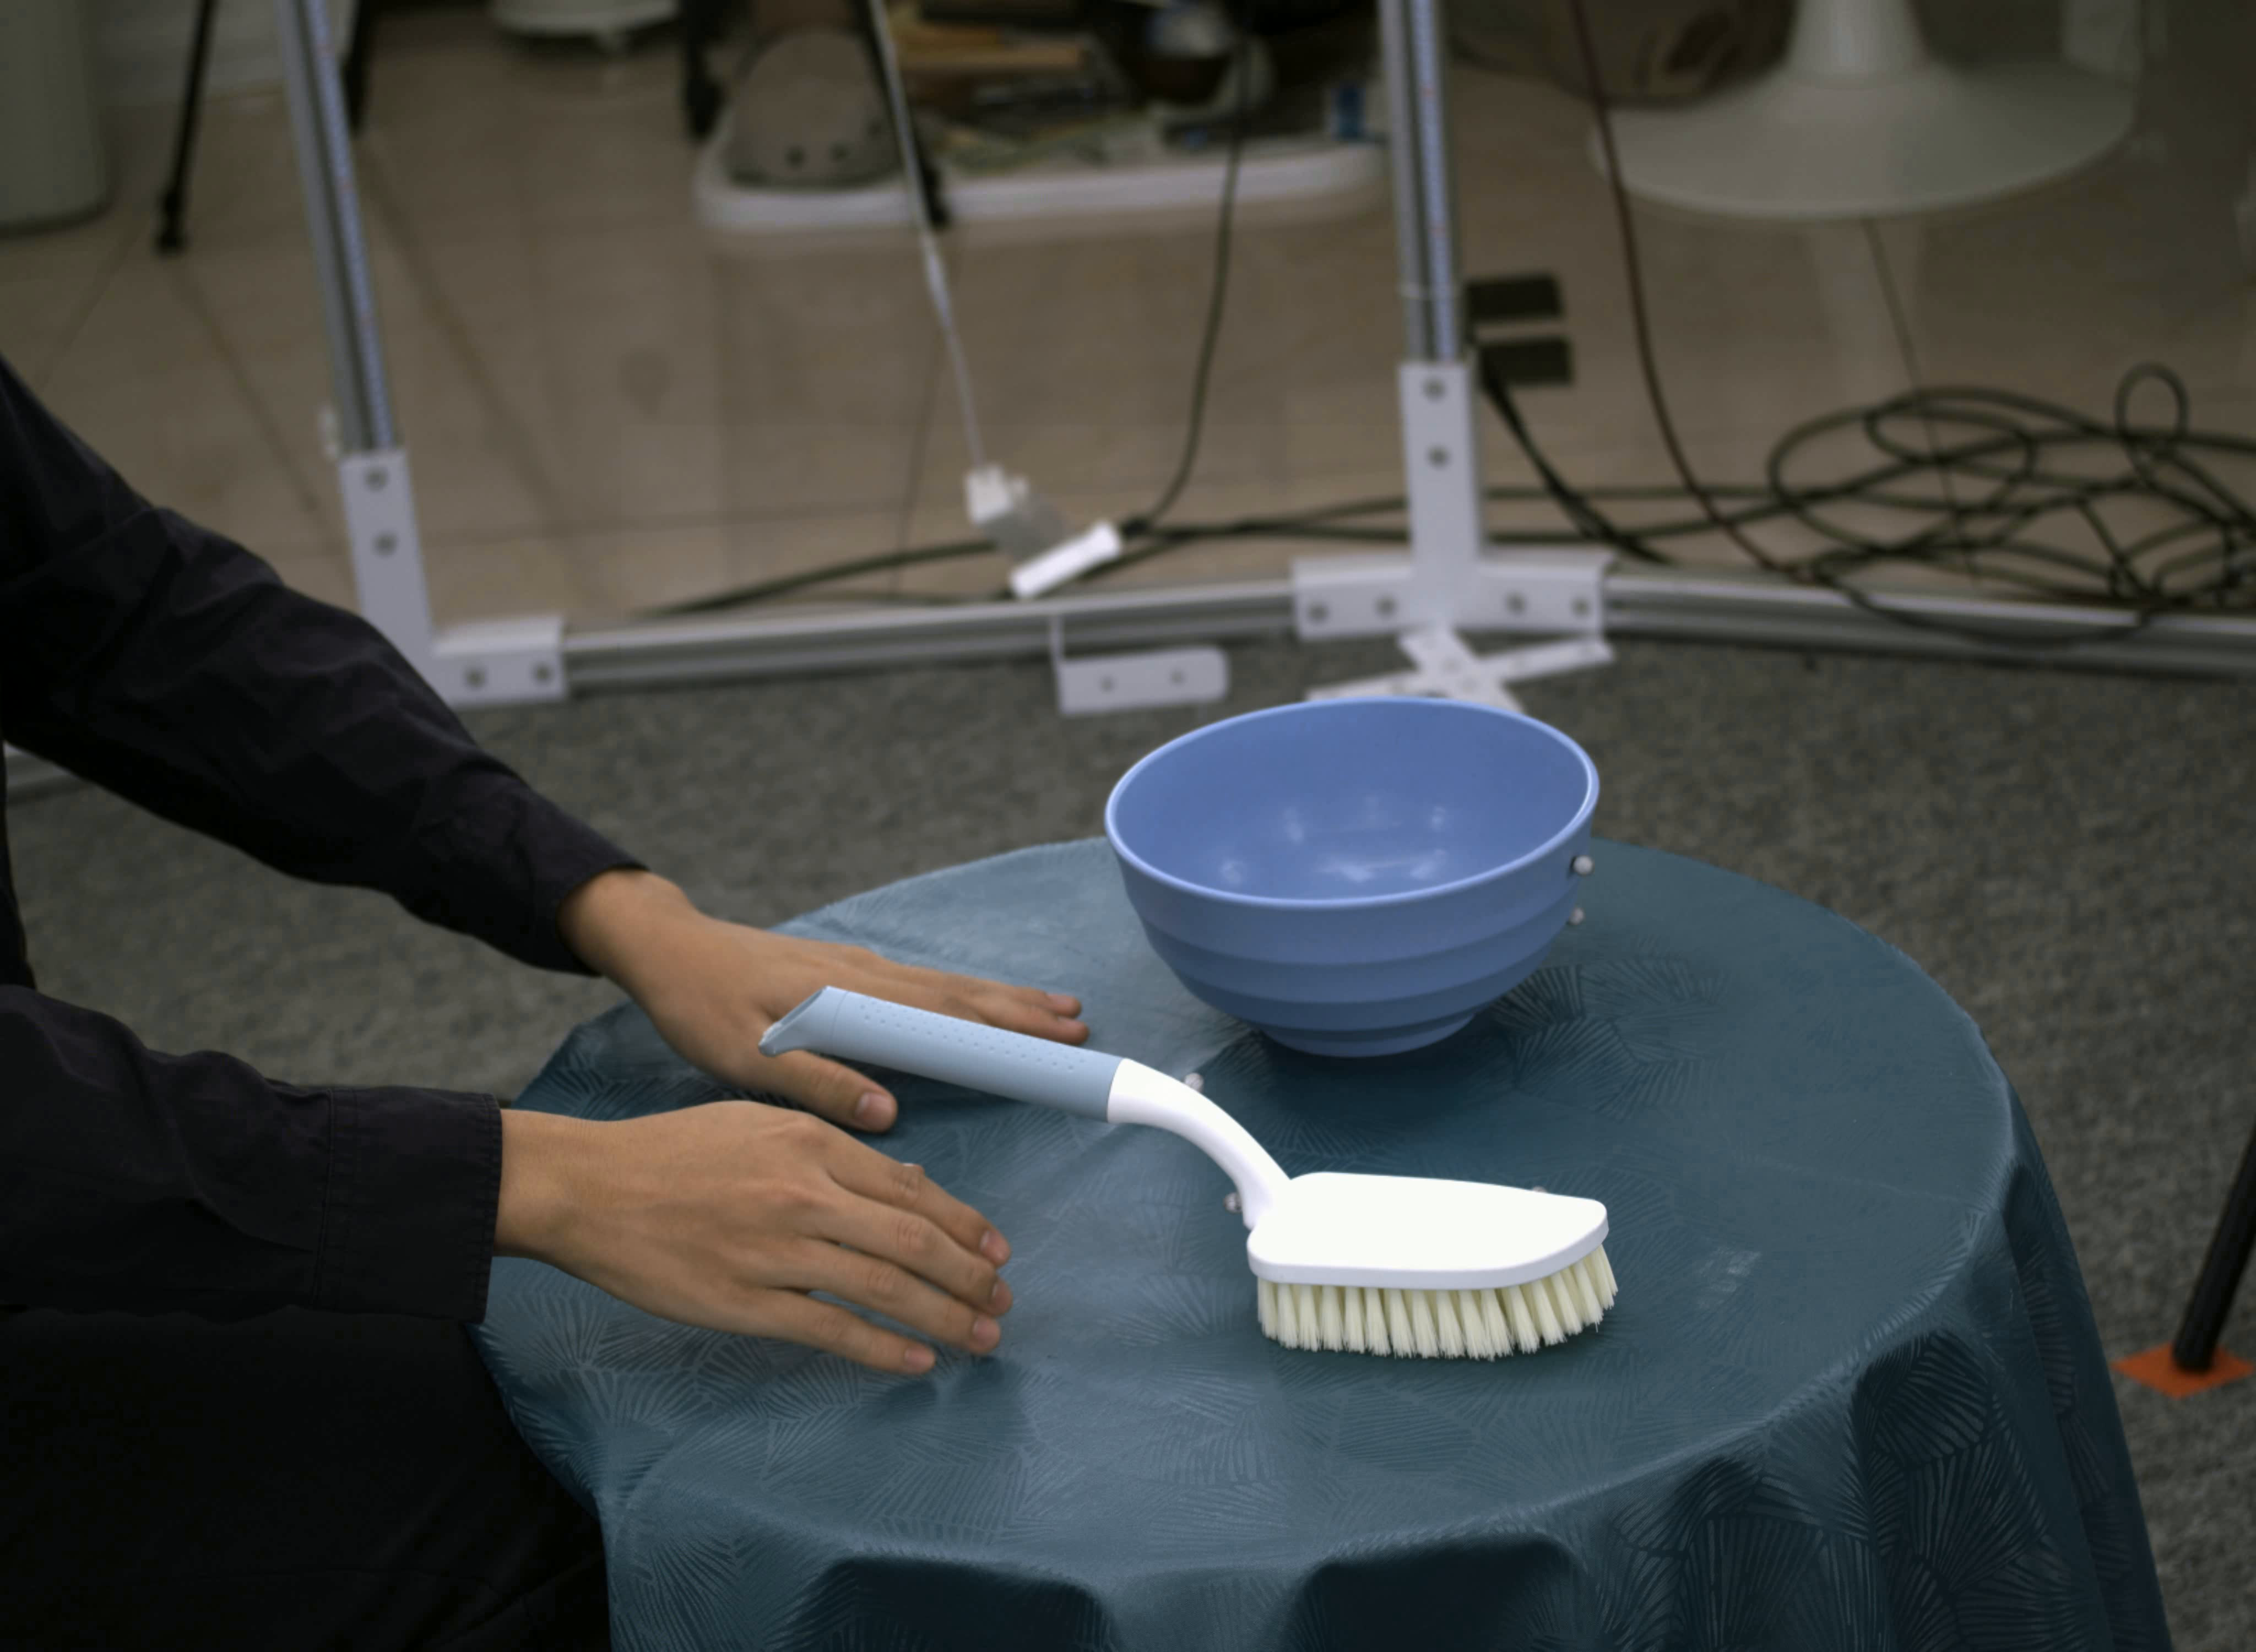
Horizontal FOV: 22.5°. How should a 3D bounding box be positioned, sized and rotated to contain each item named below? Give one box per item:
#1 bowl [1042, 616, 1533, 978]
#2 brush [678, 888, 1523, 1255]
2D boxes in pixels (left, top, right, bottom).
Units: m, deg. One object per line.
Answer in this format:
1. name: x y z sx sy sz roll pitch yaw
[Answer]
1. bowl: 0.067 -0.002 2.269 0.196 0.097 0.193 -5 26 3
2. brush: -0.013 0.100 2.081 0.324 0.084 0.083 14 -7 12
